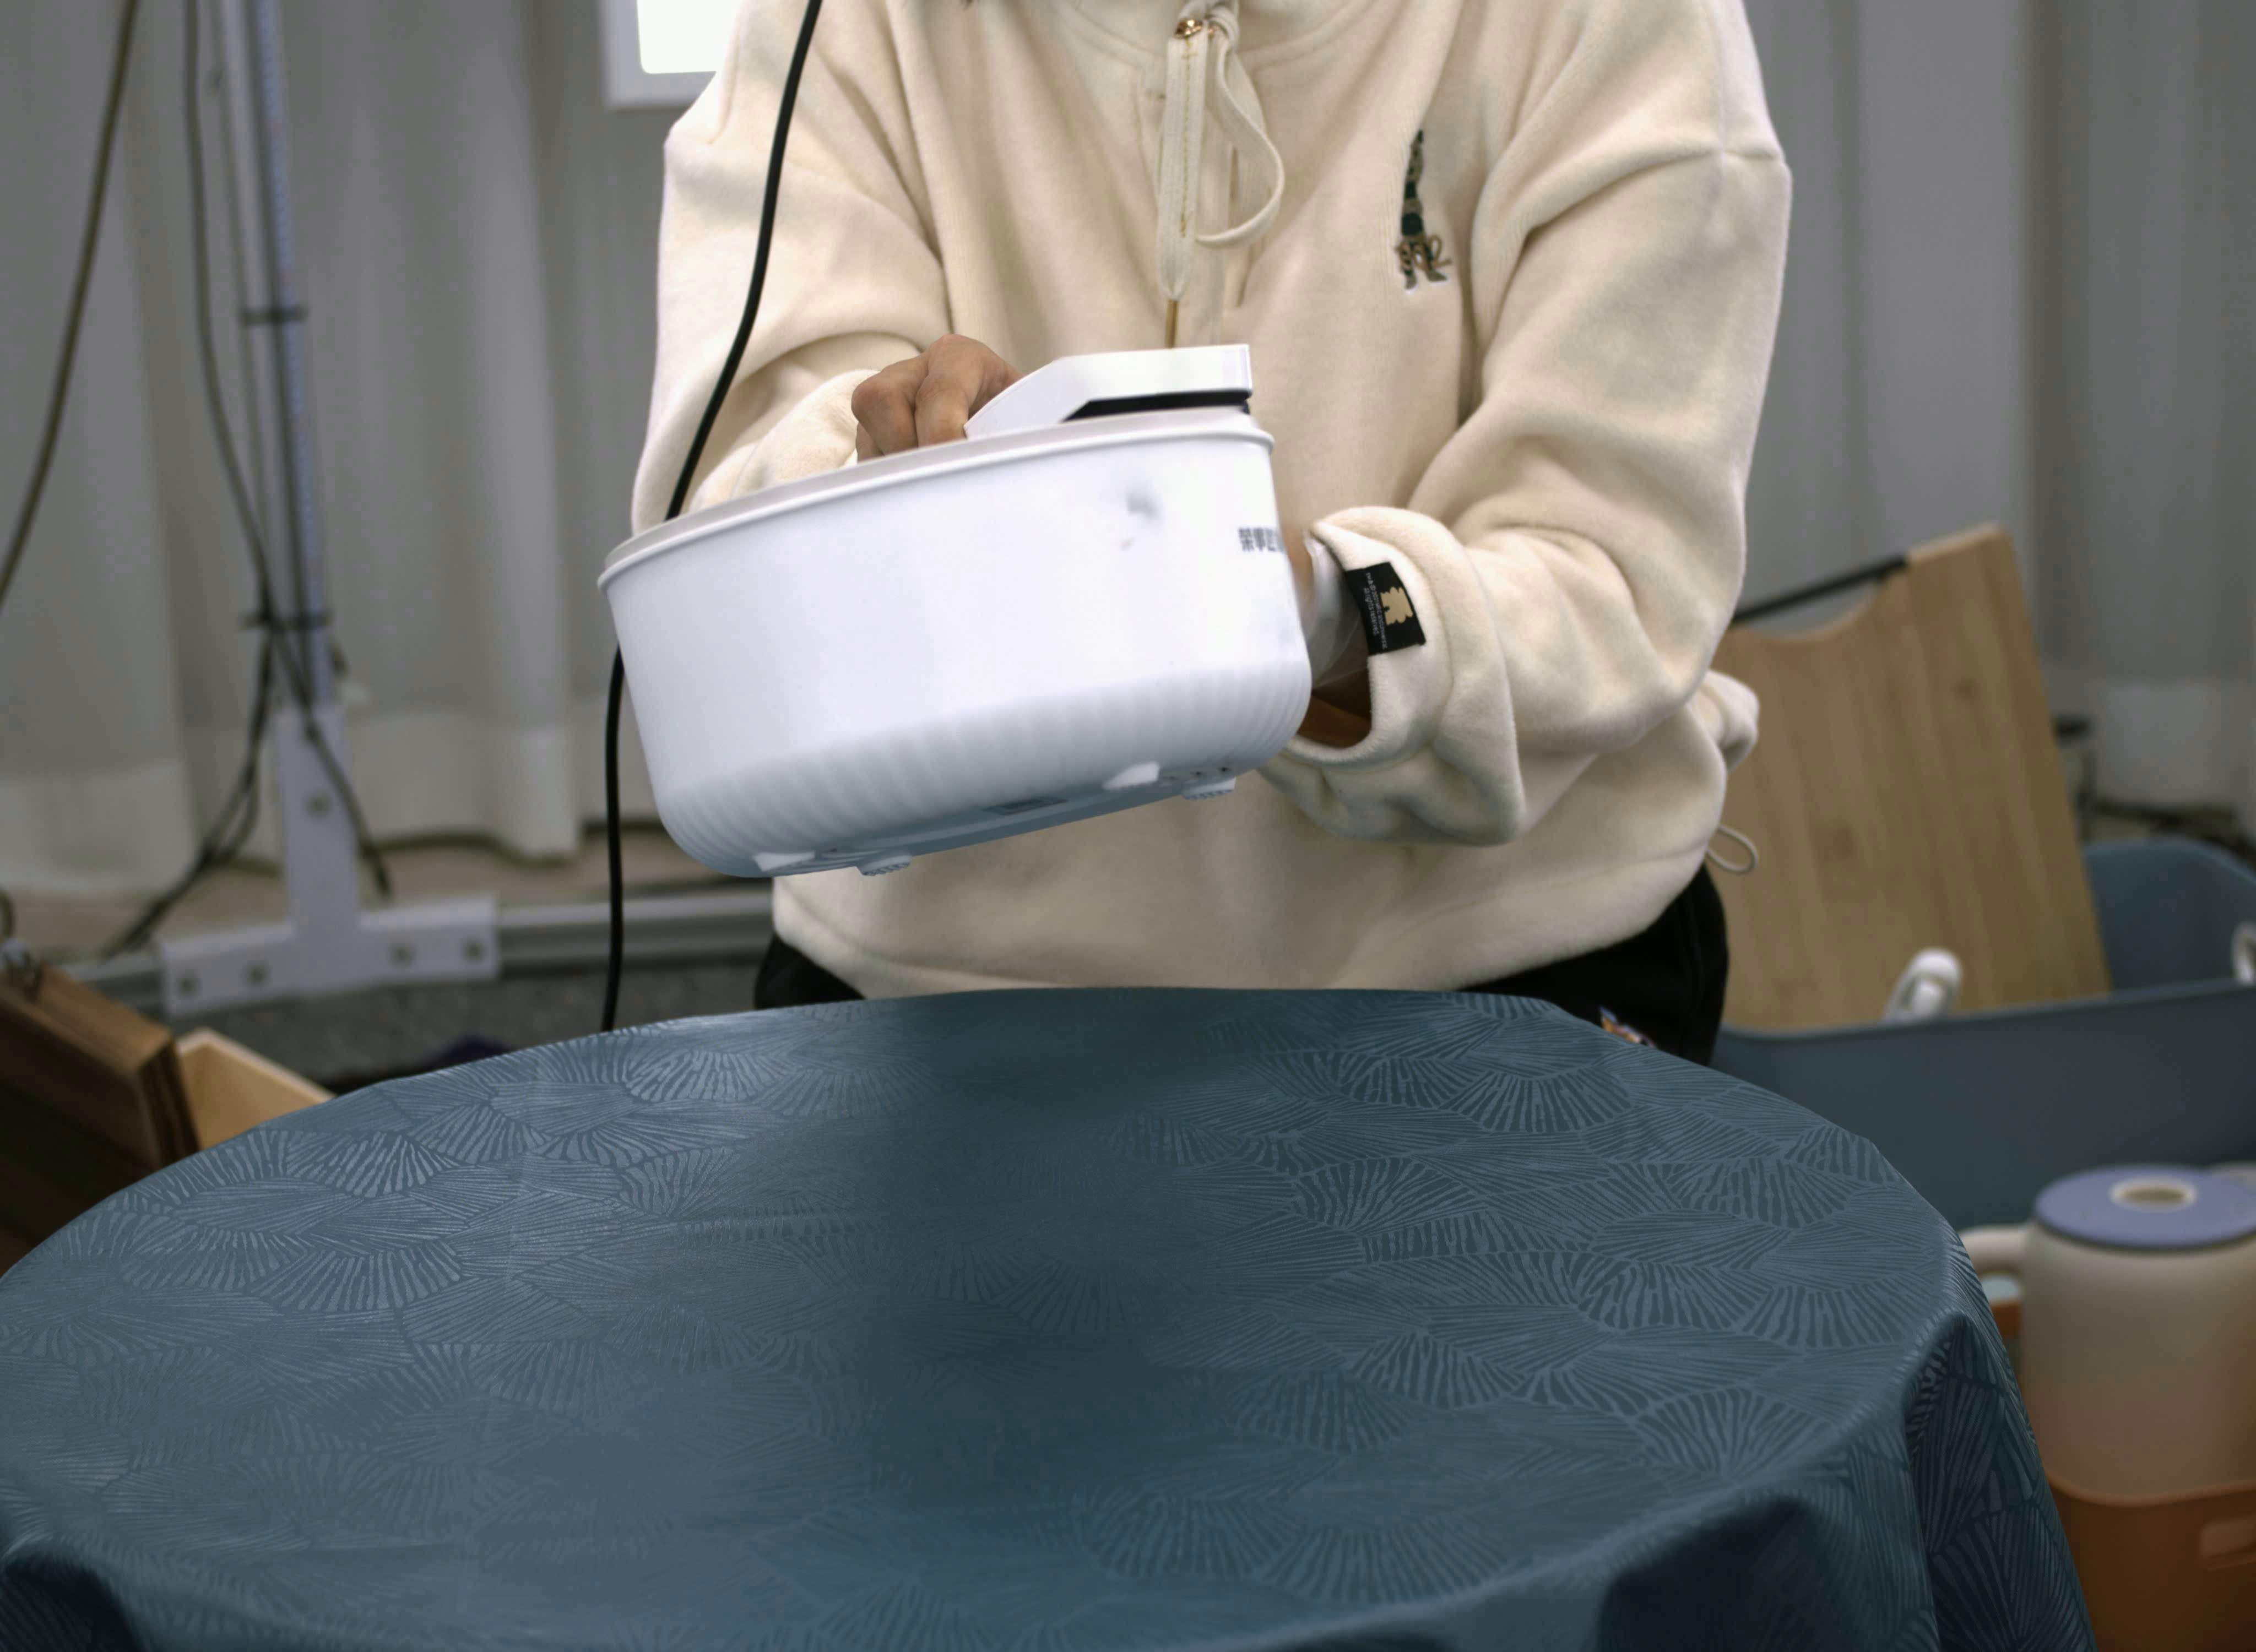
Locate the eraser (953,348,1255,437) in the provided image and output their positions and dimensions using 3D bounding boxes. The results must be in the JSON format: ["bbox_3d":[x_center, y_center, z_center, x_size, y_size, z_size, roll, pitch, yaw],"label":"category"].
[{"bbox_3d":[-0.009,-0.119,1.664,0.063,0.035,0.131,-4,-11,-23],"label":"eraser"}]

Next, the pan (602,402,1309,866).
[{"bbox_3d":[-0.028,-0.047,1.664,0.201,0.103,0.353,-12,-6,13],"label":"pan"}]
